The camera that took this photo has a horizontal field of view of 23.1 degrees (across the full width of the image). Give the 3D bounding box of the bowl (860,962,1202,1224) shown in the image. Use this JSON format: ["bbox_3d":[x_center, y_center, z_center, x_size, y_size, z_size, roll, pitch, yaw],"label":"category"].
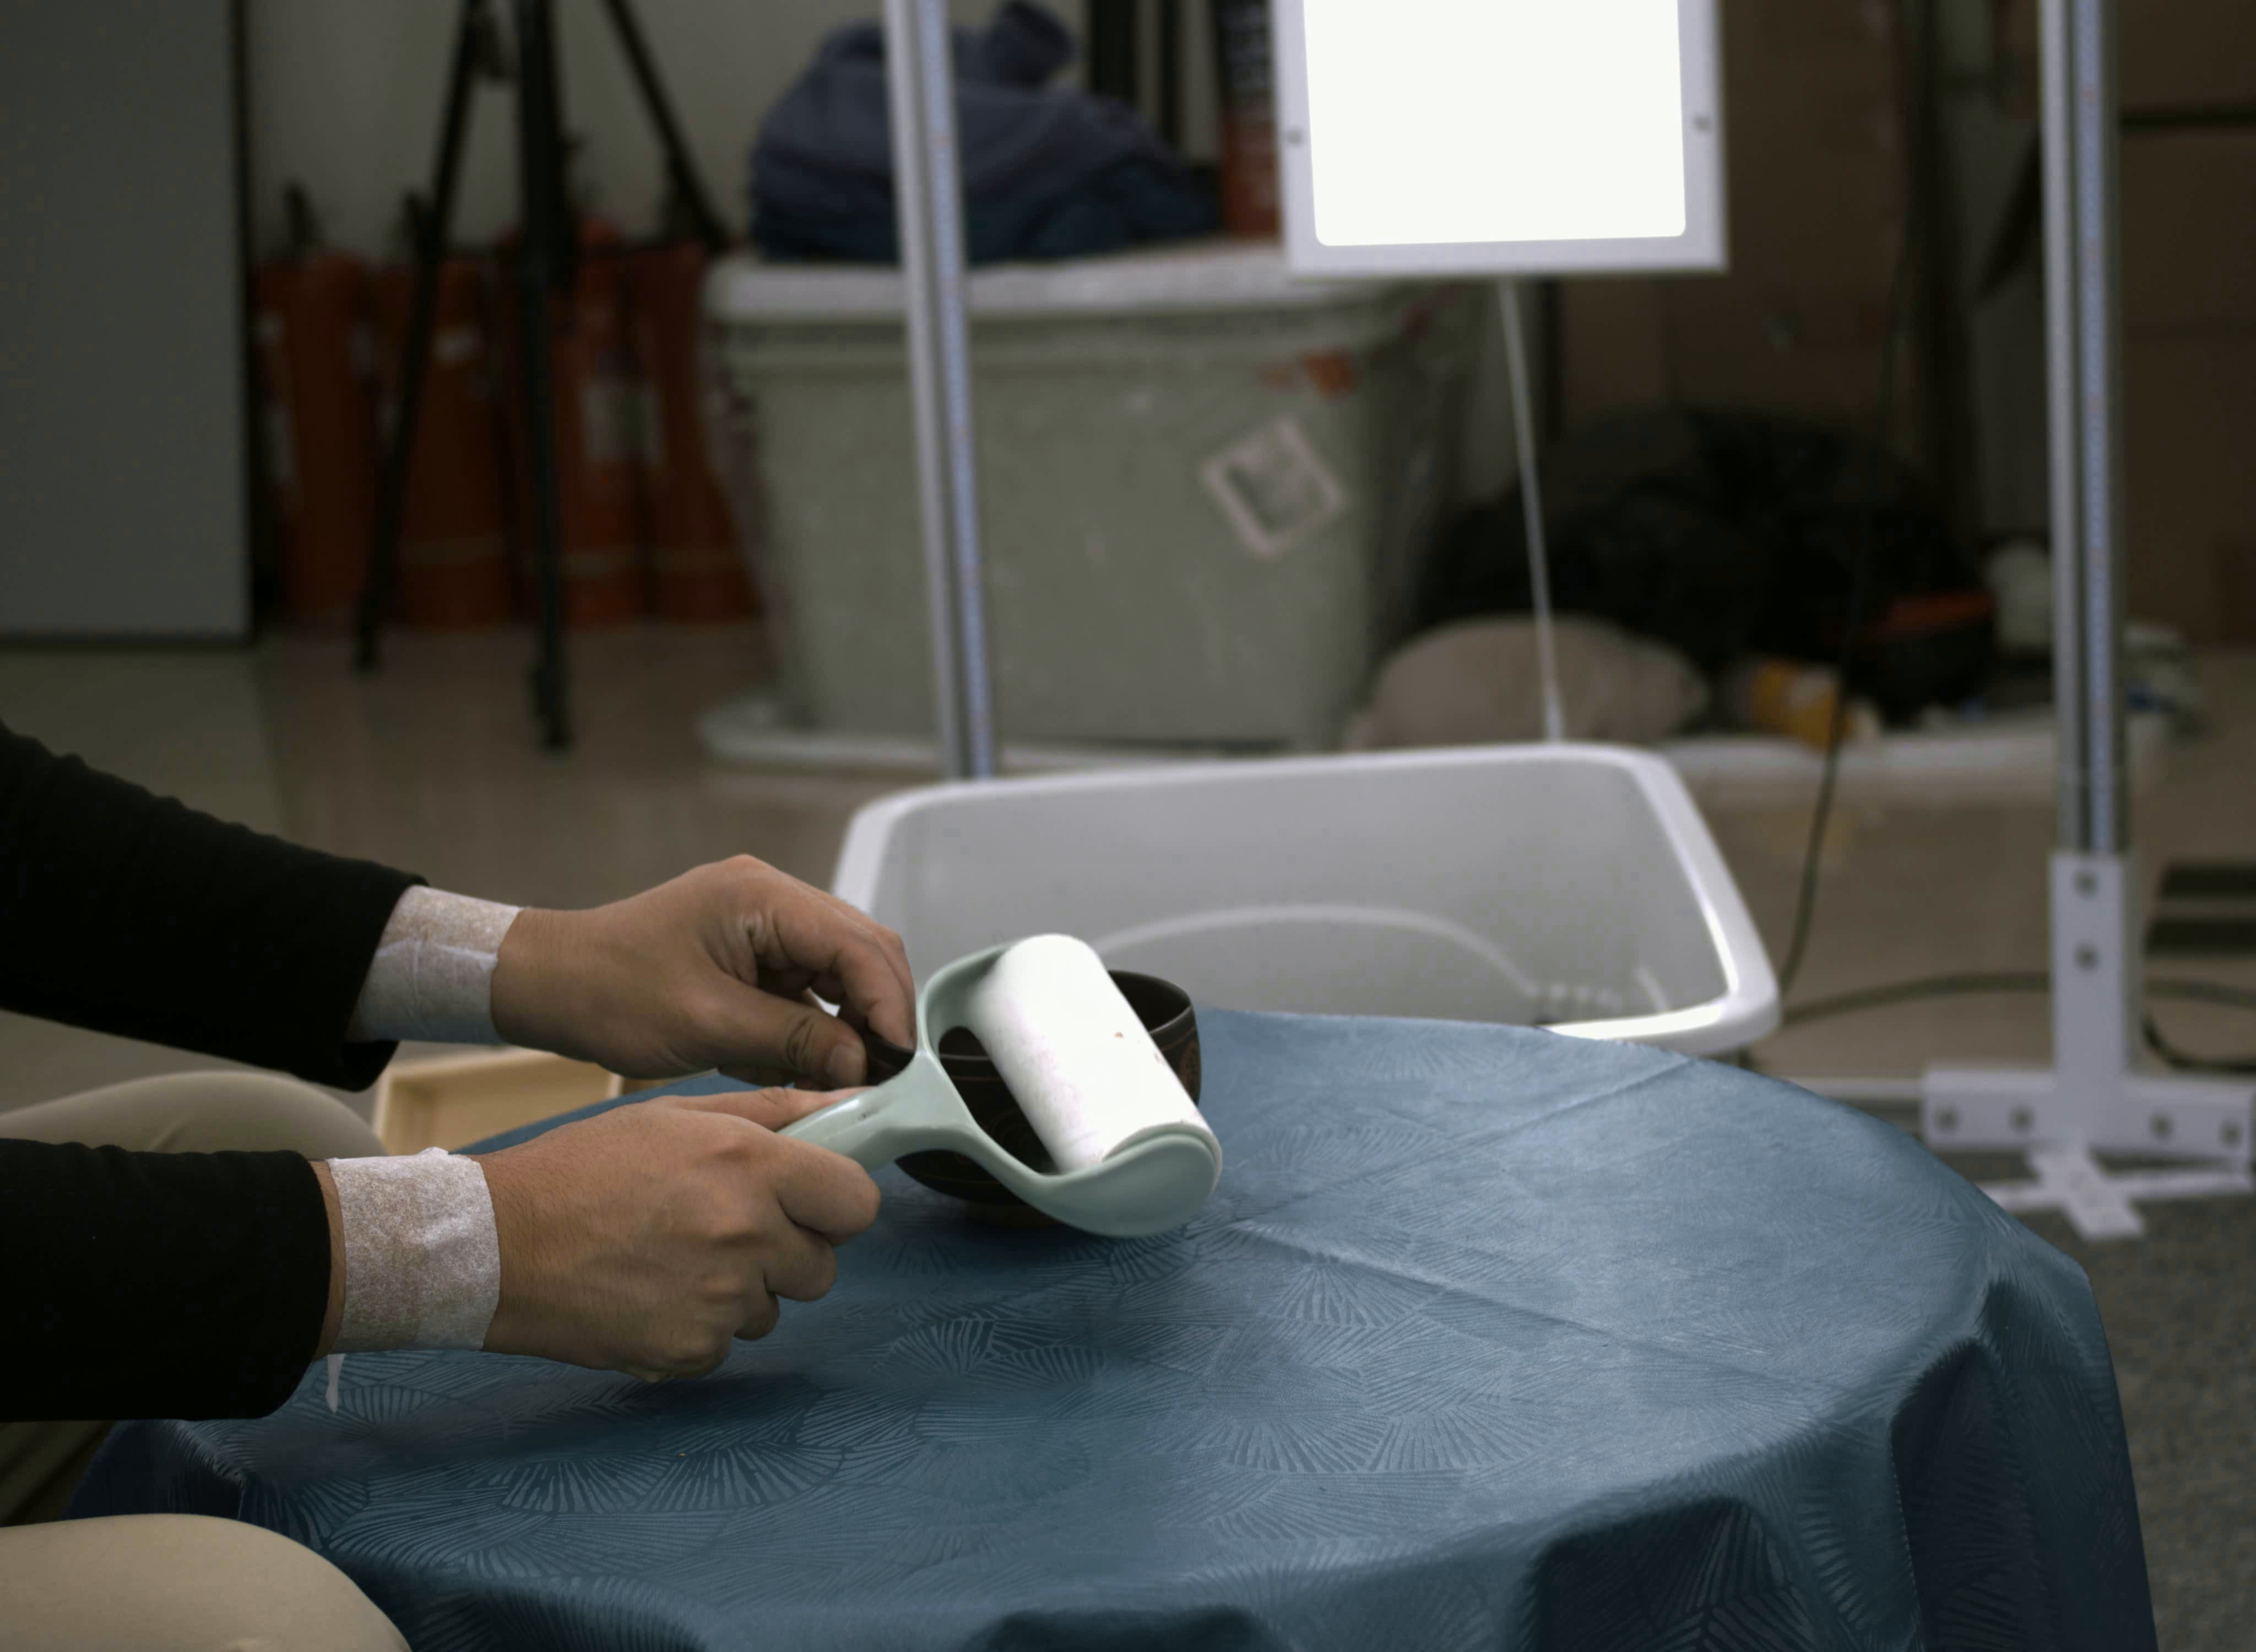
[{"bbox_3d":[-0.032,0.095,1.887,0.118,0.070,0.118,-5,14,0],"label":"bowl"}]

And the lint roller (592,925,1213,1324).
[{"bbox_3d":[-0.081,0.103,1.756,0.195,0.048,0.118,-19,43,-13],"label":"lint roller"}]
